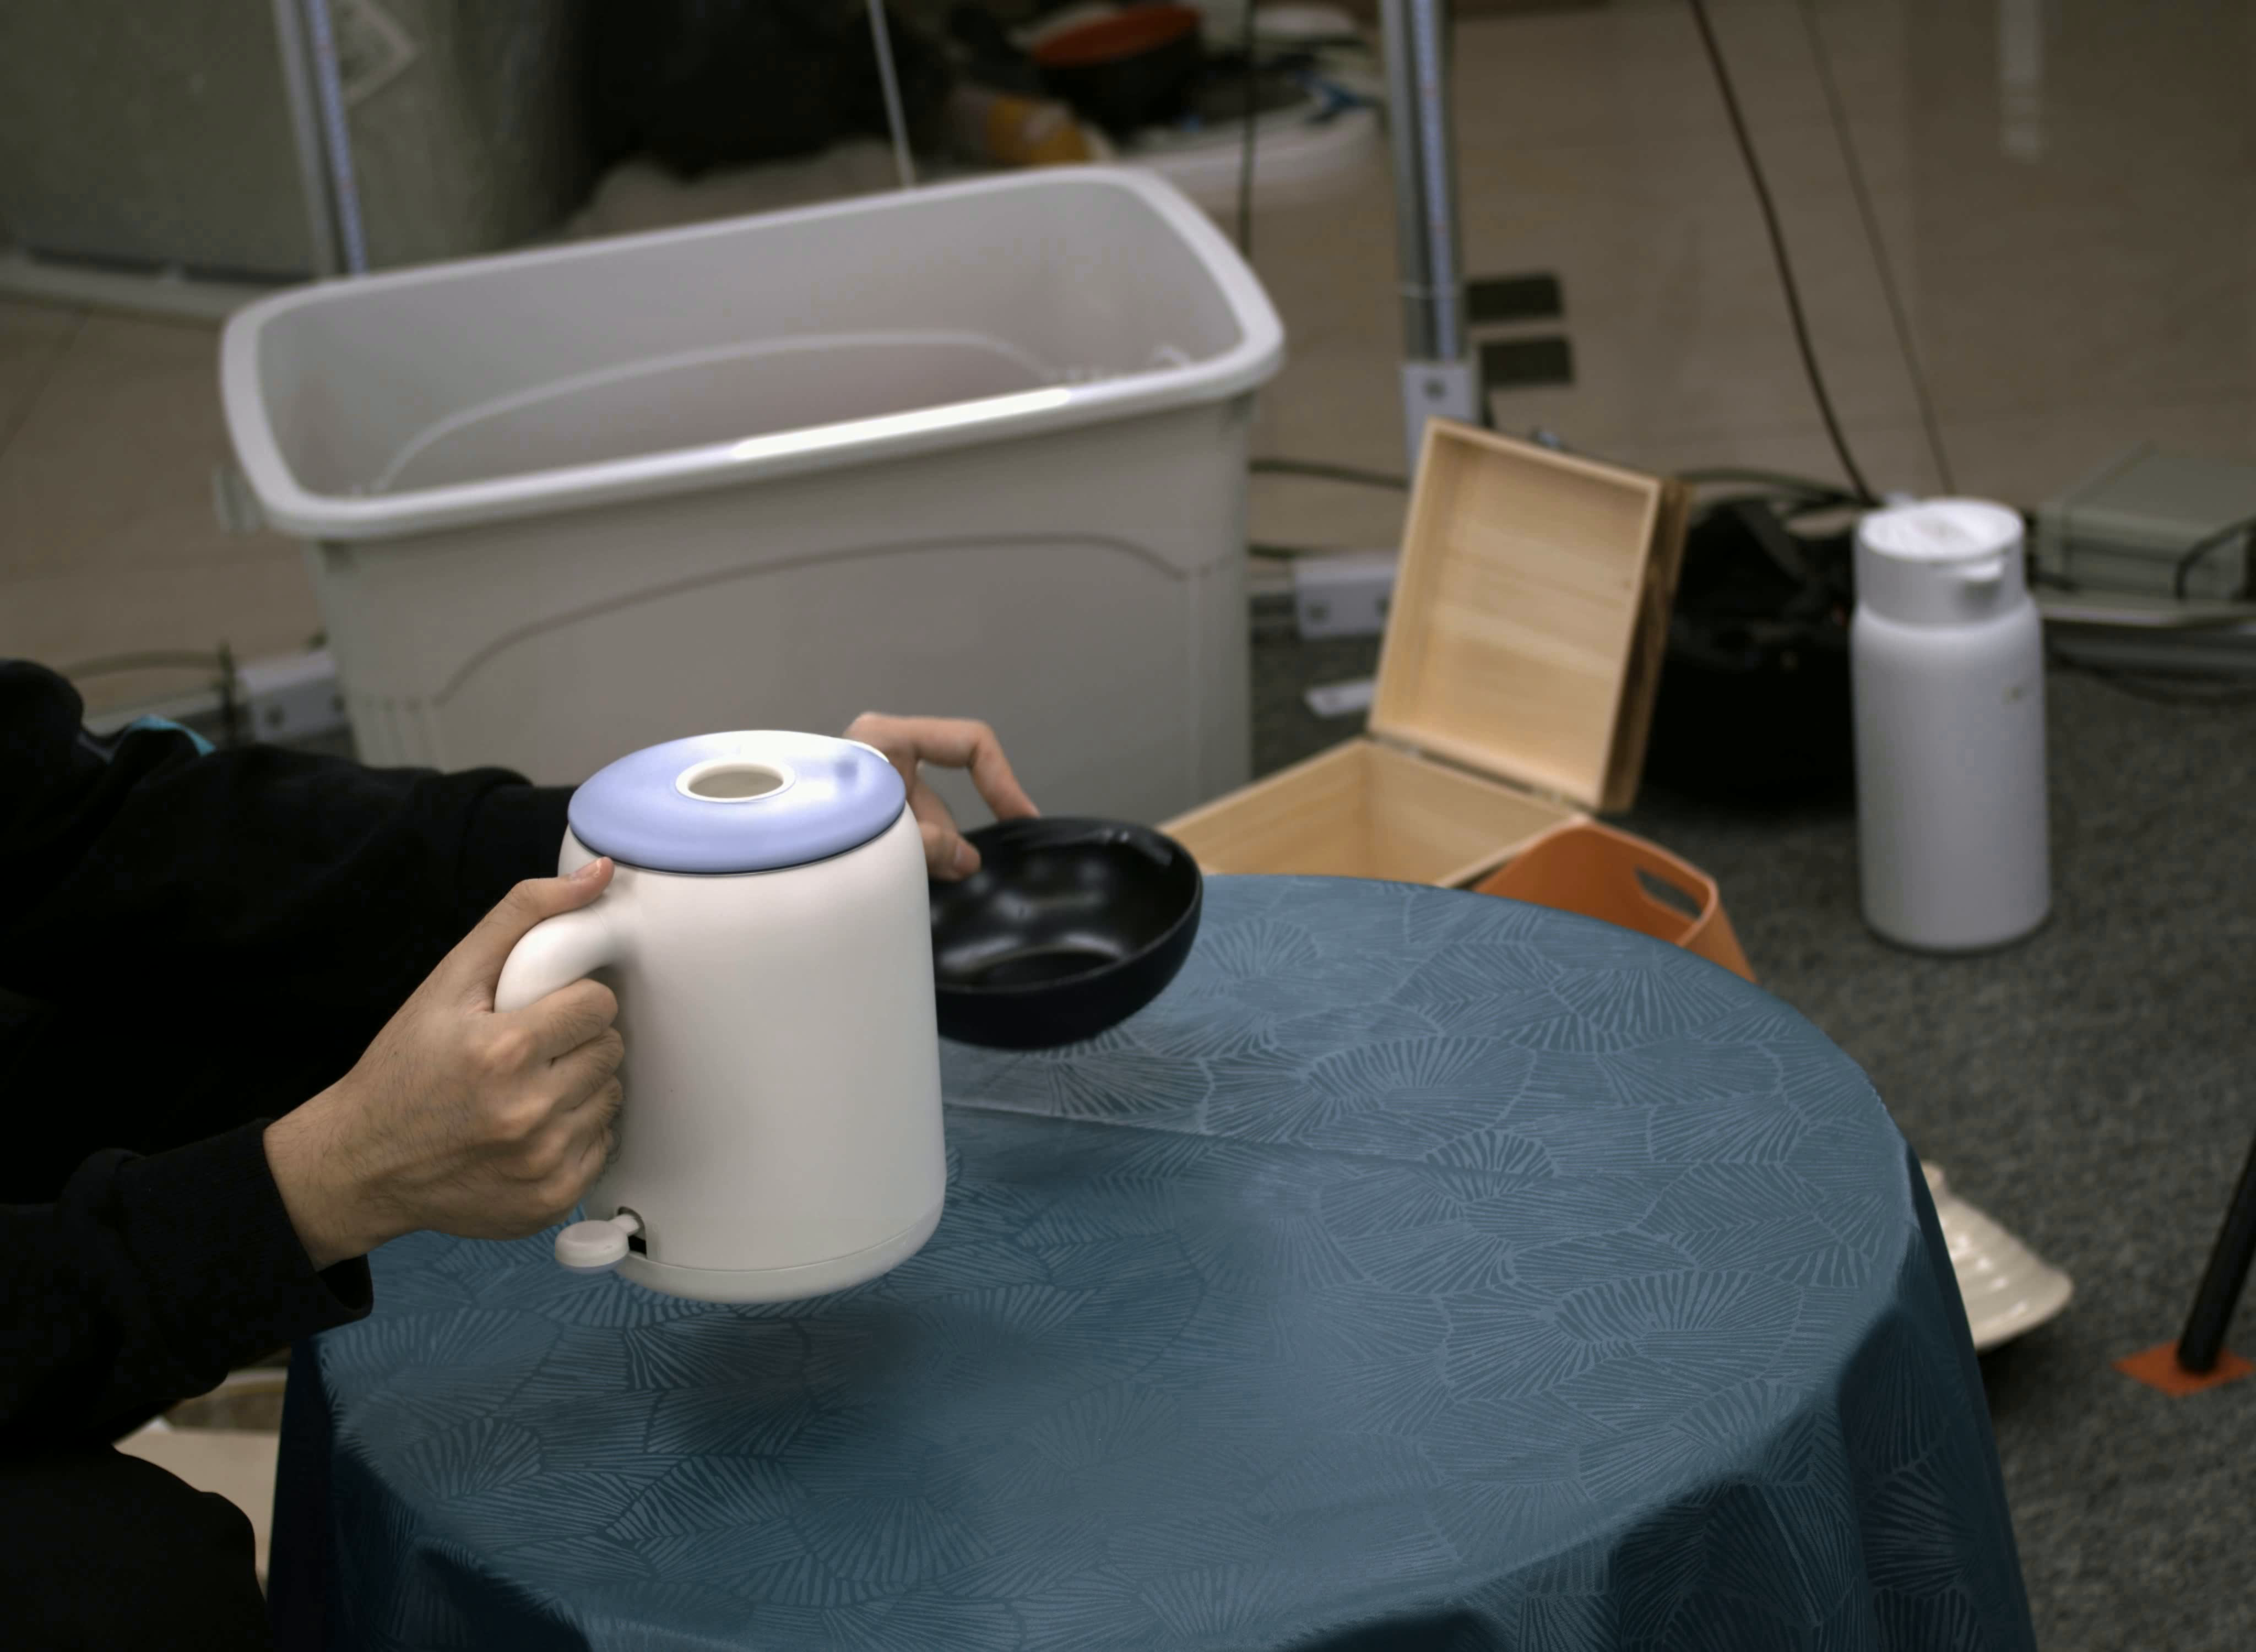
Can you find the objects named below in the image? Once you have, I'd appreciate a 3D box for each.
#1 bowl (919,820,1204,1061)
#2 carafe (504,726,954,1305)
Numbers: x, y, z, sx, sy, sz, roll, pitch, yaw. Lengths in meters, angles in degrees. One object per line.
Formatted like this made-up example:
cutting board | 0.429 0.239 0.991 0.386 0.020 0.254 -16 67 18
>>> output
bowl | -0.036 0.052 2.205 0.140 0.050 0.138 -8 29 5
carafe | -0.148 0.075 1.988 0.131 0.185 0.189 16 32 38
